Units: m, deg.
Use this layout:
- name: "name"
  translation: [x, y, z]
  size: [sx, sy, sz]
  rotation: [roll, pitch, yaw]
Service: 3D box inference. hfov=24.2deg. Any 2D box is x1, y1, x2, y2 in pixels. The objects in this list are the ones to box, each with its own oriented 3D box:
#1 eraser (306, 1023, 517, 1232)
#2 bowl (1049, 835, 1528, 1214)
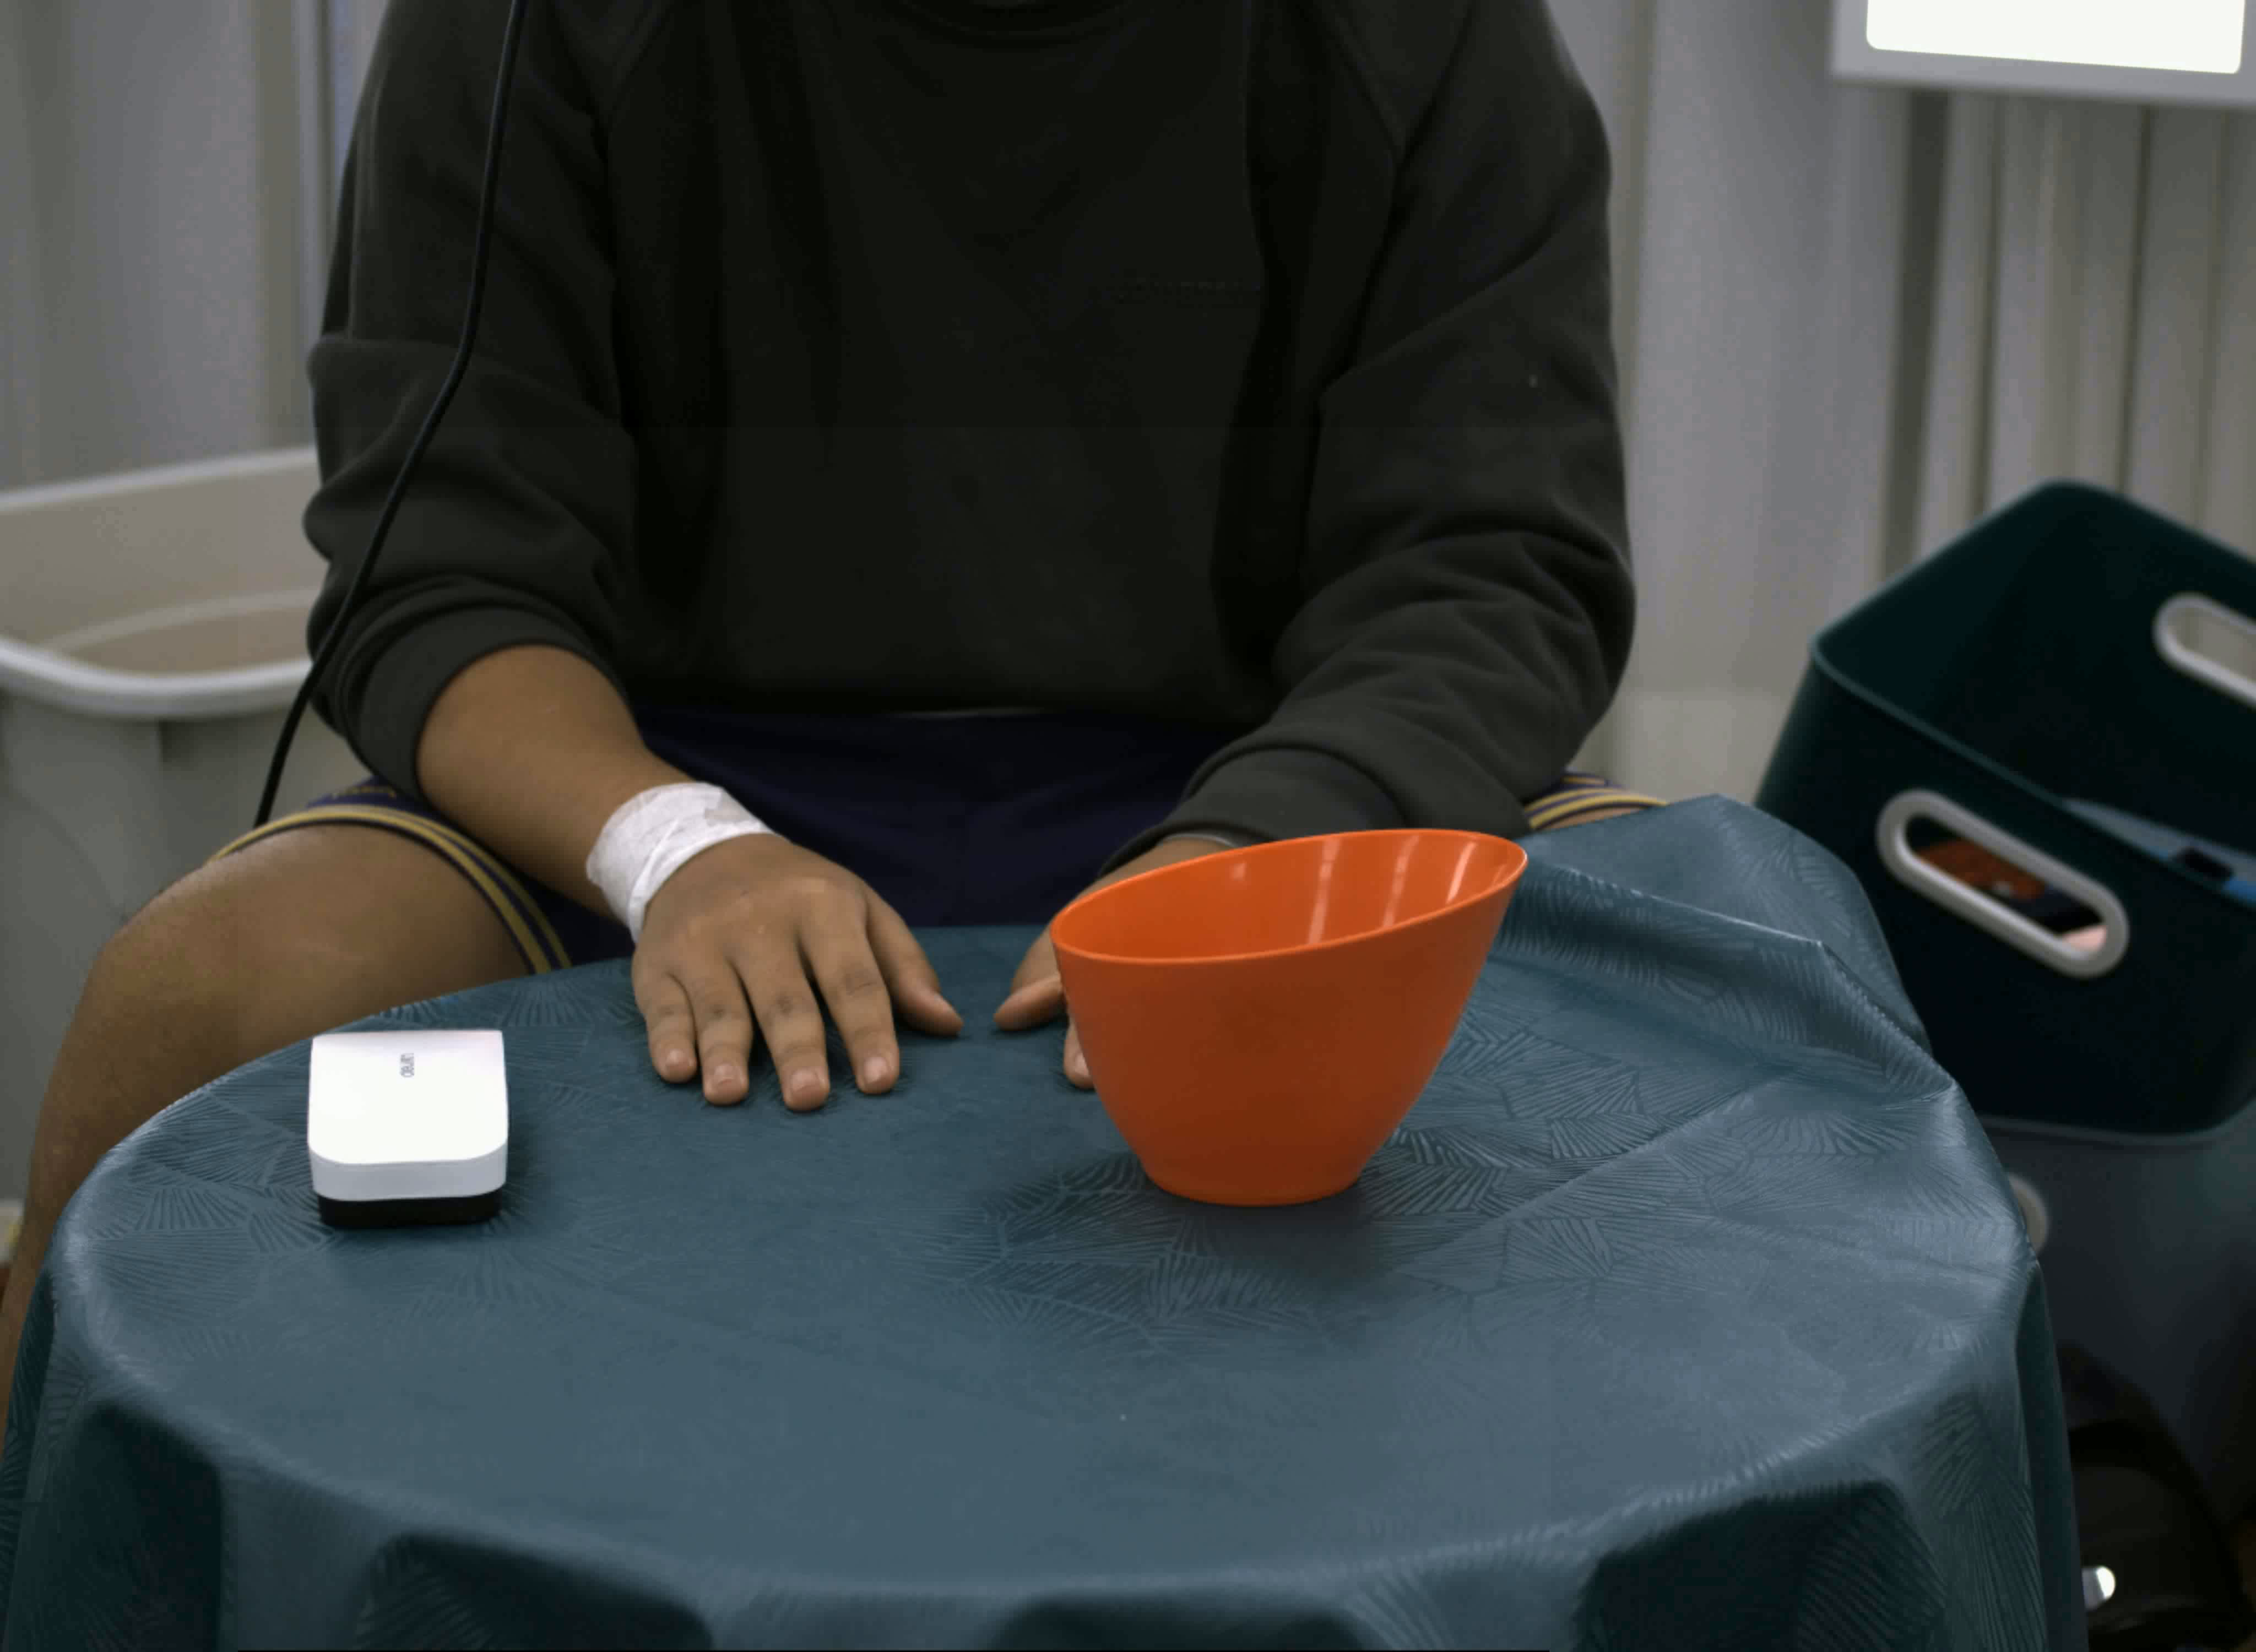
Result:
- name: "eraser"
  translation: [-0.222, 0.089, 1.638]
  size: [0.063, 0.035, 0.130]
  rotation: [0, 17, -6]
- name: "bowl"
  translation: [0.049, 0.061, 1.622]
  size: [0.147, 0.105, 0.147]
  rotation: [0, 15, 1]
